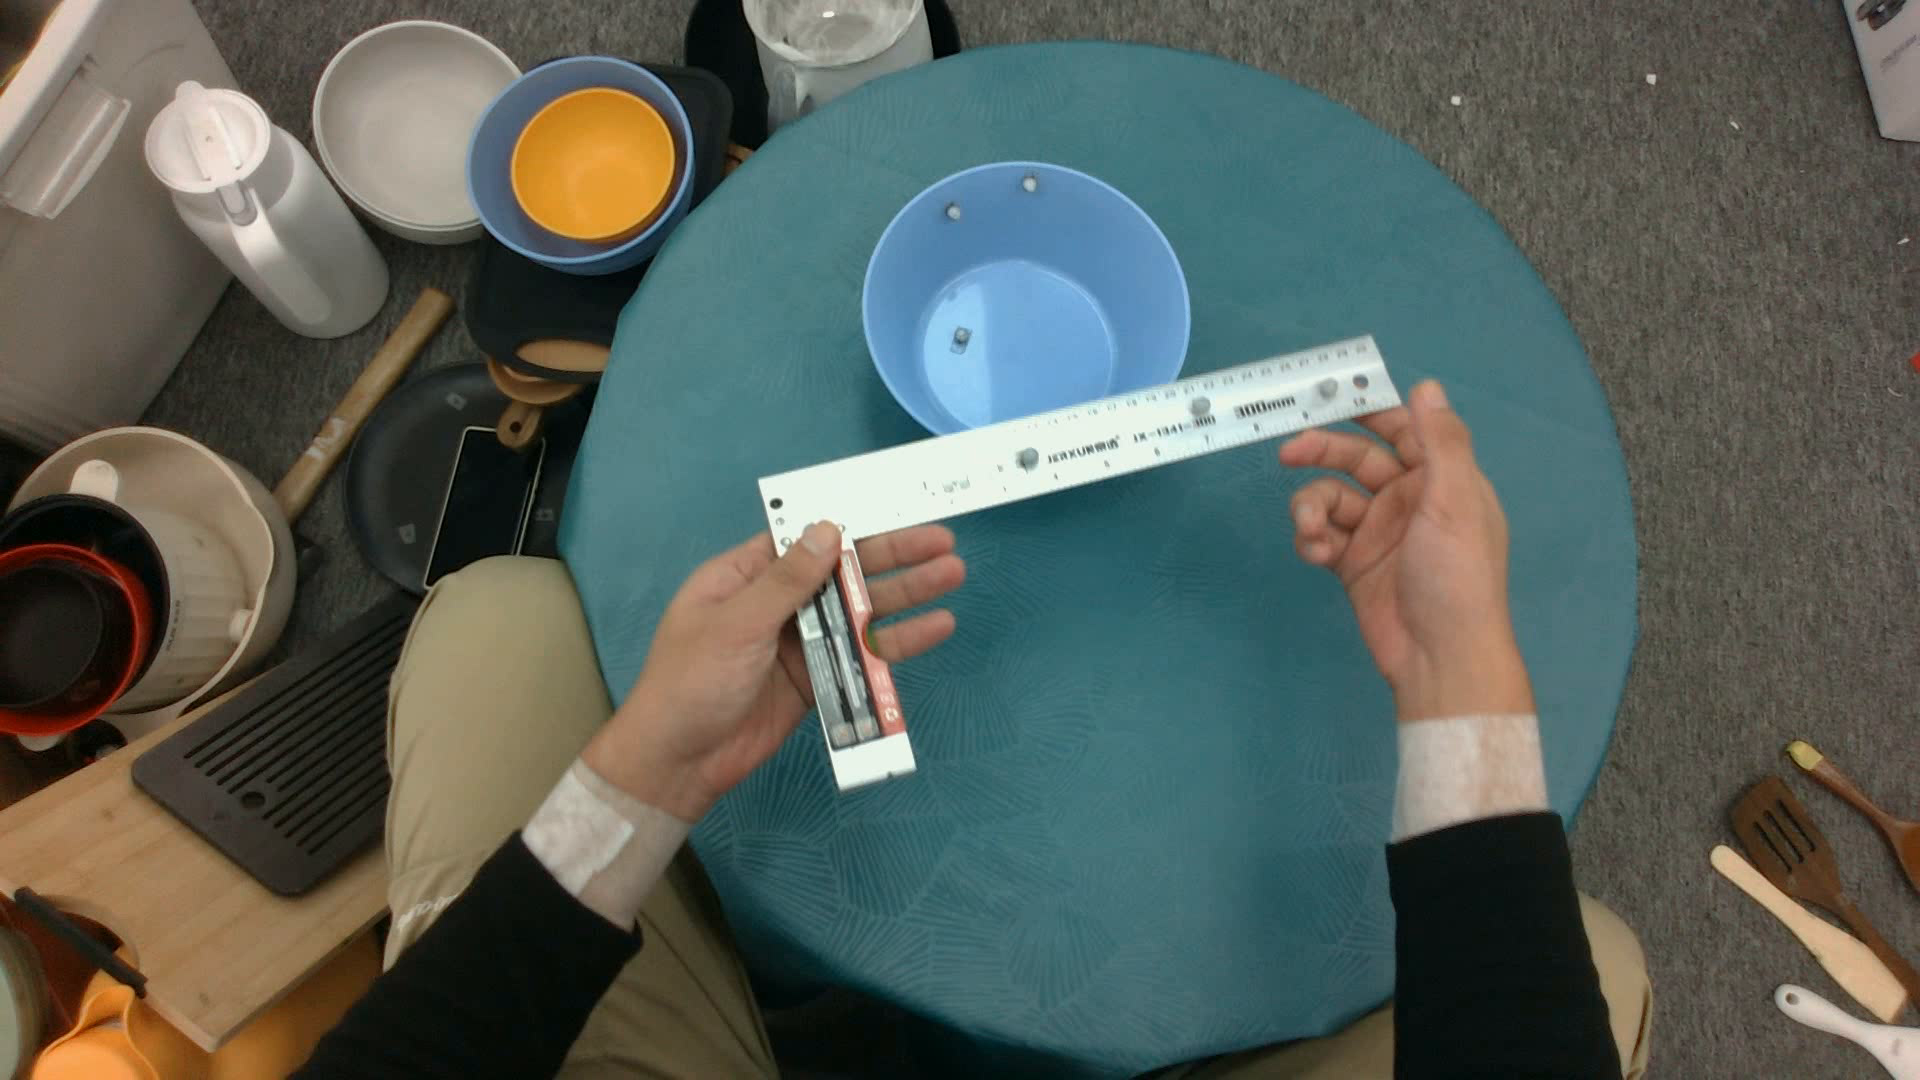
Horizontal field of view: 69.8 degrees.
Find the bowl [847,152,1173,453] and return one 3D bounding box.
[{"bbox_3d":[0.025,-0.121,0.762,0.176,0.070,0.176,2,73,-5],"label":"bowl"}]

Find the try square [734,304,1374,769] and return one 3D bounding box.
[{"bbox_3d":[0.063,-0.009,0.634,0.313,0.016,0.152,-14,73,-10],"label":"try square"}]
